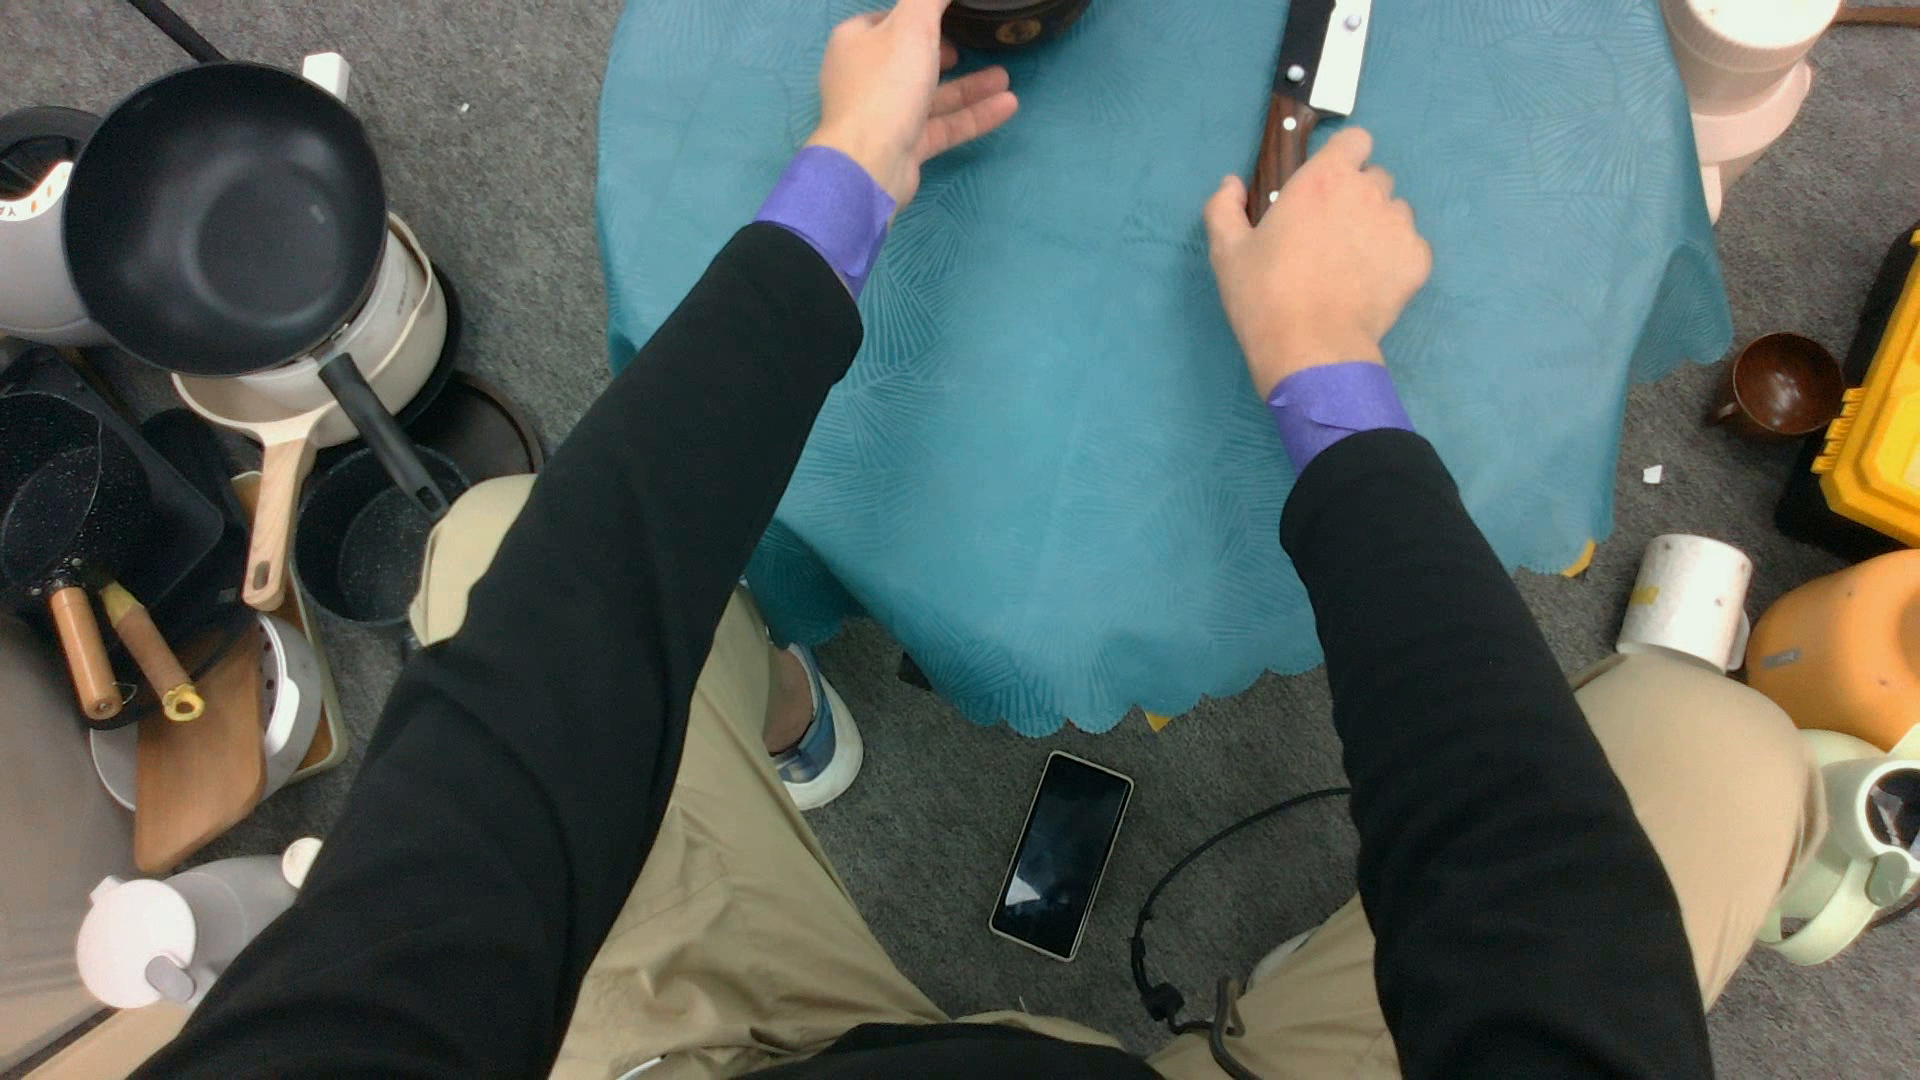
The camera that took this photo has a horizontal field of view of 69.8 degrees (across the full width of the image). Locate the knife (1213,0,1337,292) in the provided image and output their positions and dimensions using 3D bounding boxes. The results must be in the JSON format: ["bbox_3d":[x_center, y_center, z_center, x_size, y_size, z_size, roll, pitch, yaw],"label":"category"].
[{"bbox_3d":[0.179,-0.266,0.759,0.050,0.020,0.290,15,75,1],"label":"knife"}]

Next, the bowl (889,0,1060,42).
[{"bbox_3d":[0.008,-0.327,0.755,0.118,0.070,0.118,-1,78,3],"label":"bowl"}]
